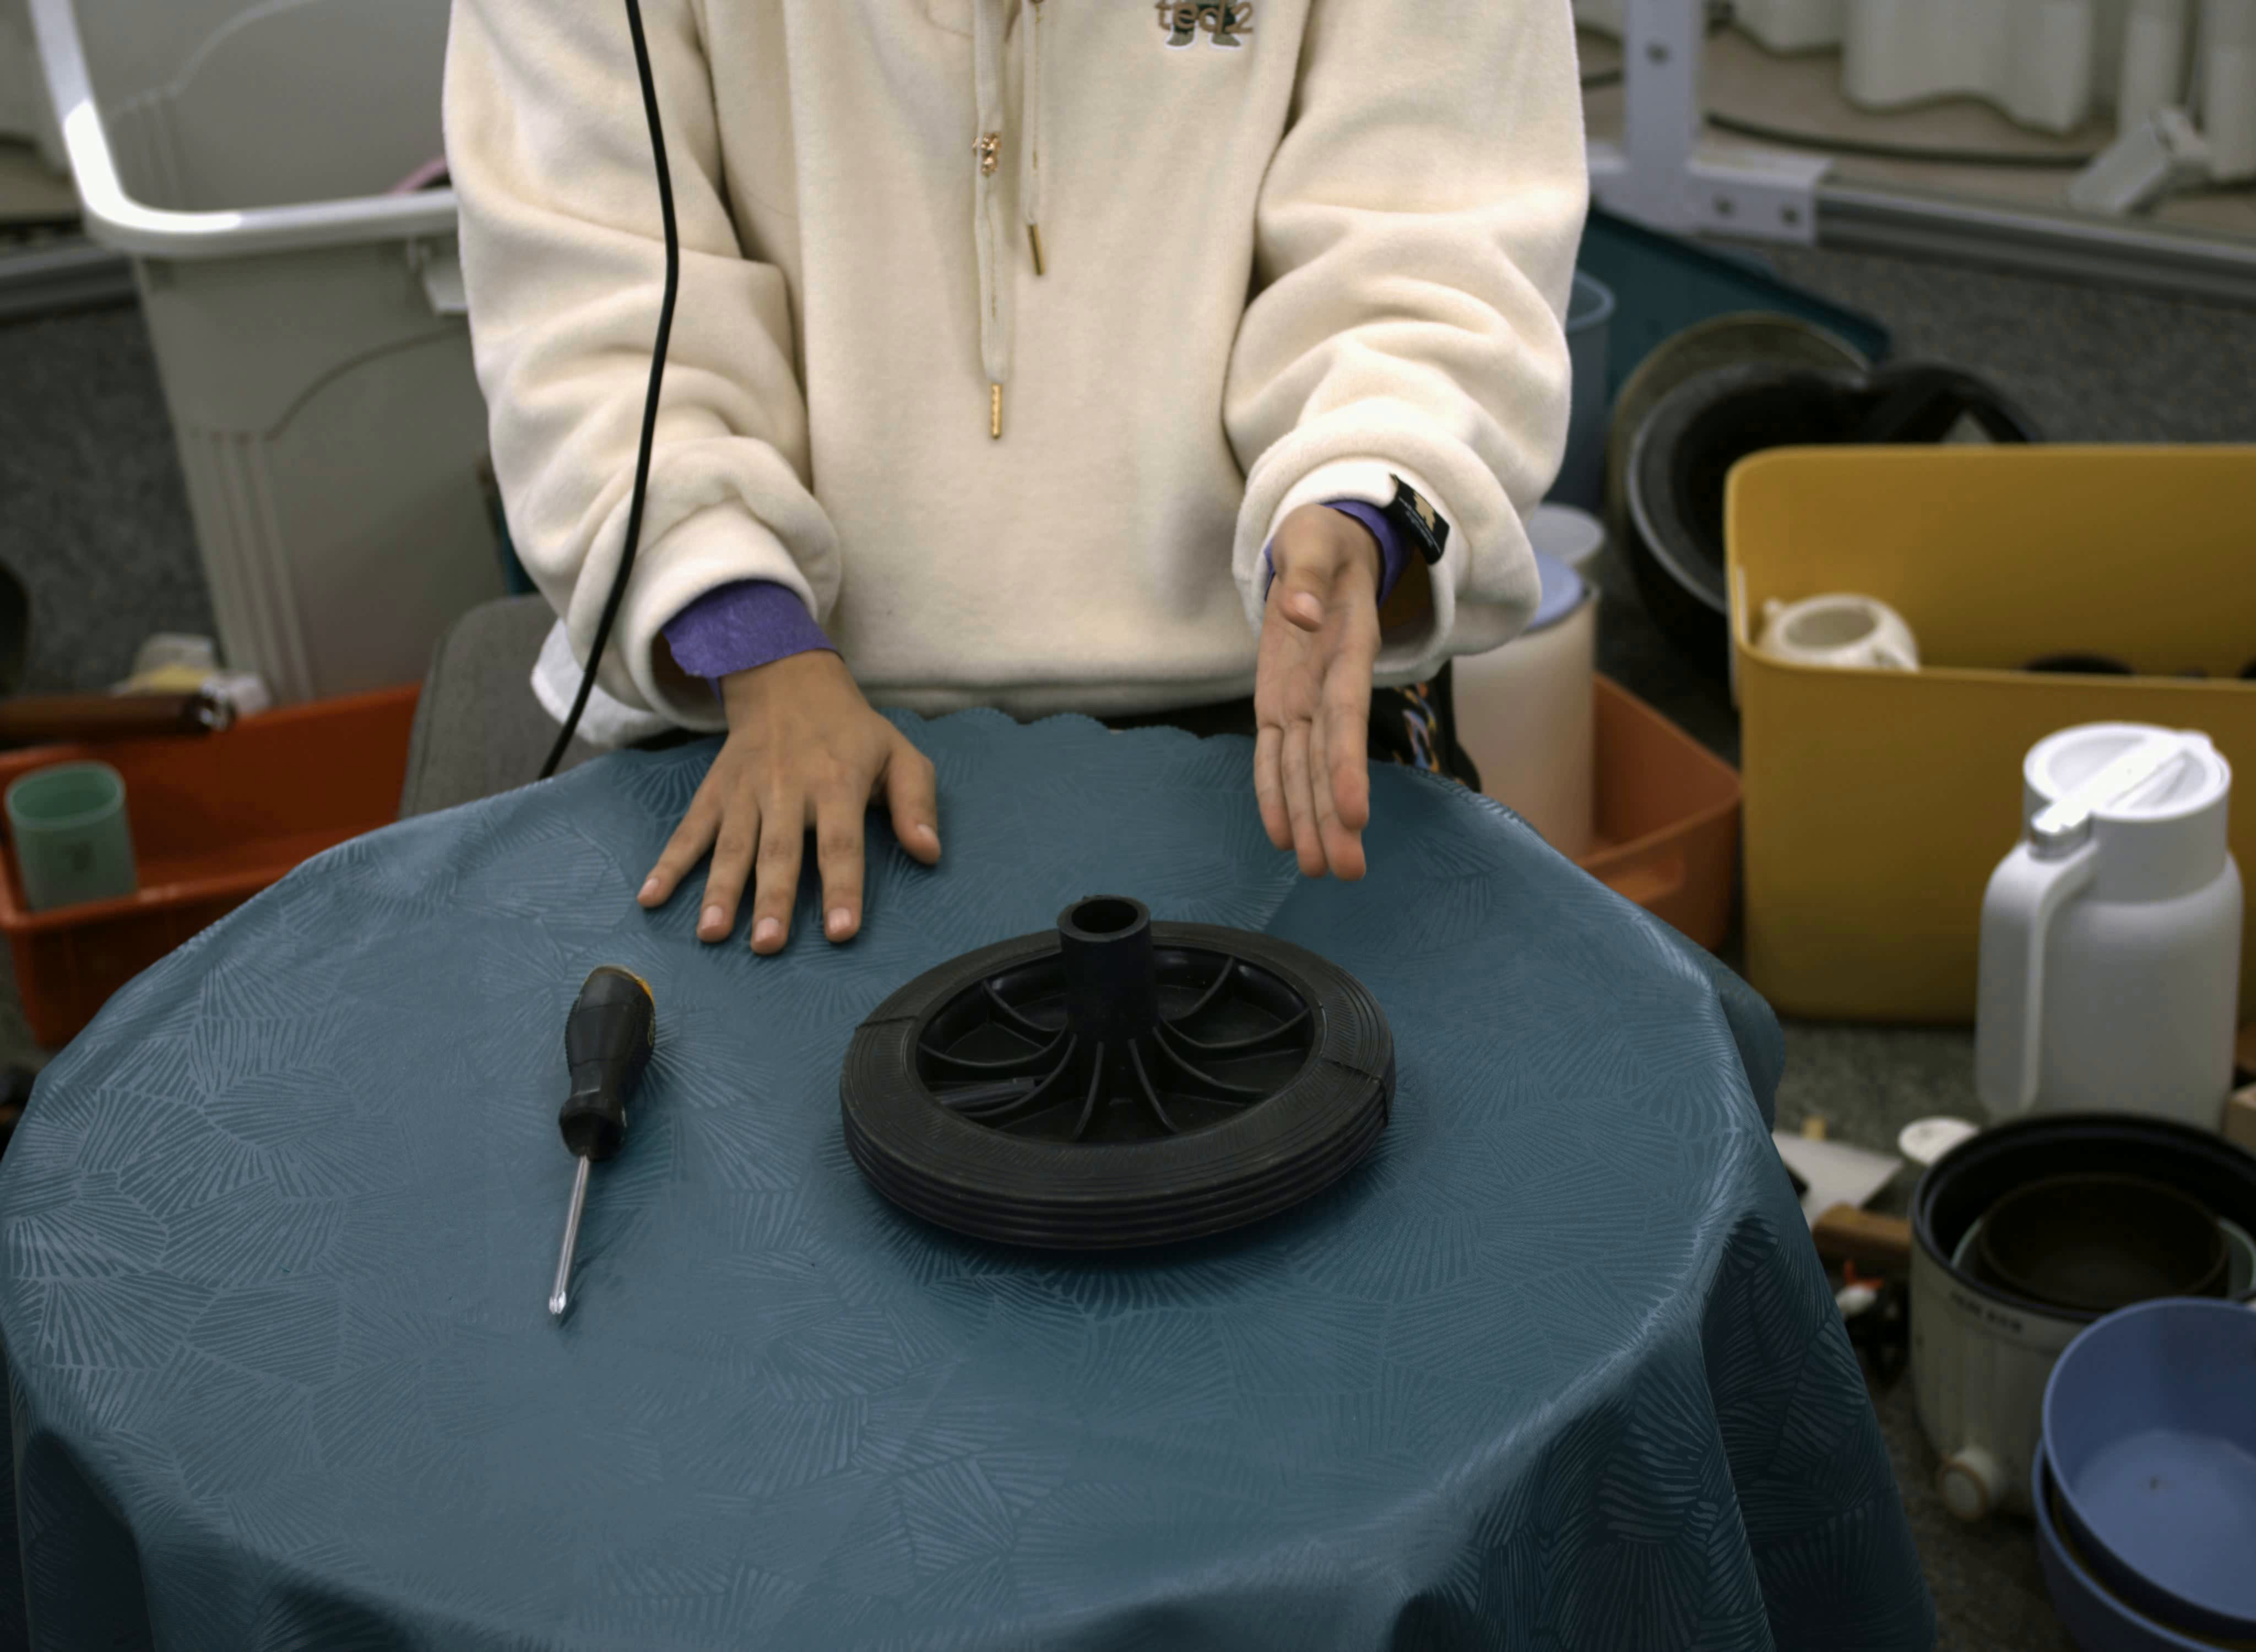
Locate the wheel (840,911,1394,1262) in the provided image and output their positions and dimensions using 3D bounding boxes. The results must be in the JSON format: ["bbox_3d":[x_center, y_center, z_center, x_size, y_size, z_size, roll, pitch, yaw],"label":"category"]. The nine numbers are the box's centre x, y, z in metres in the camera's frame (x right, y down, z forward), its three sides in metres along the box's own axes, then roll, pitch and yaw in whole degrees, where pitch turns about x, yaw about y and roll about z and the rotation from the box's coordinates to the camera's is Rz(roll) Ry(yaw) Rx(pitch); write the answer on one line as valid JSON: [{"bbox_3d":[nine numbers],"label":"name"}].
[{"bbox_3d":[-0.006,0.071,1.881,0.191,0.078,0.187,-23,32,-31],"label":"wheel"}]

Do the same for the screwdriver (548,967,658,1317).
[{"bbox_3d":[-0.177,0.105,1.884,0.031,0.031,0.199,-2,29,0],"label":"screwdriver"}]
